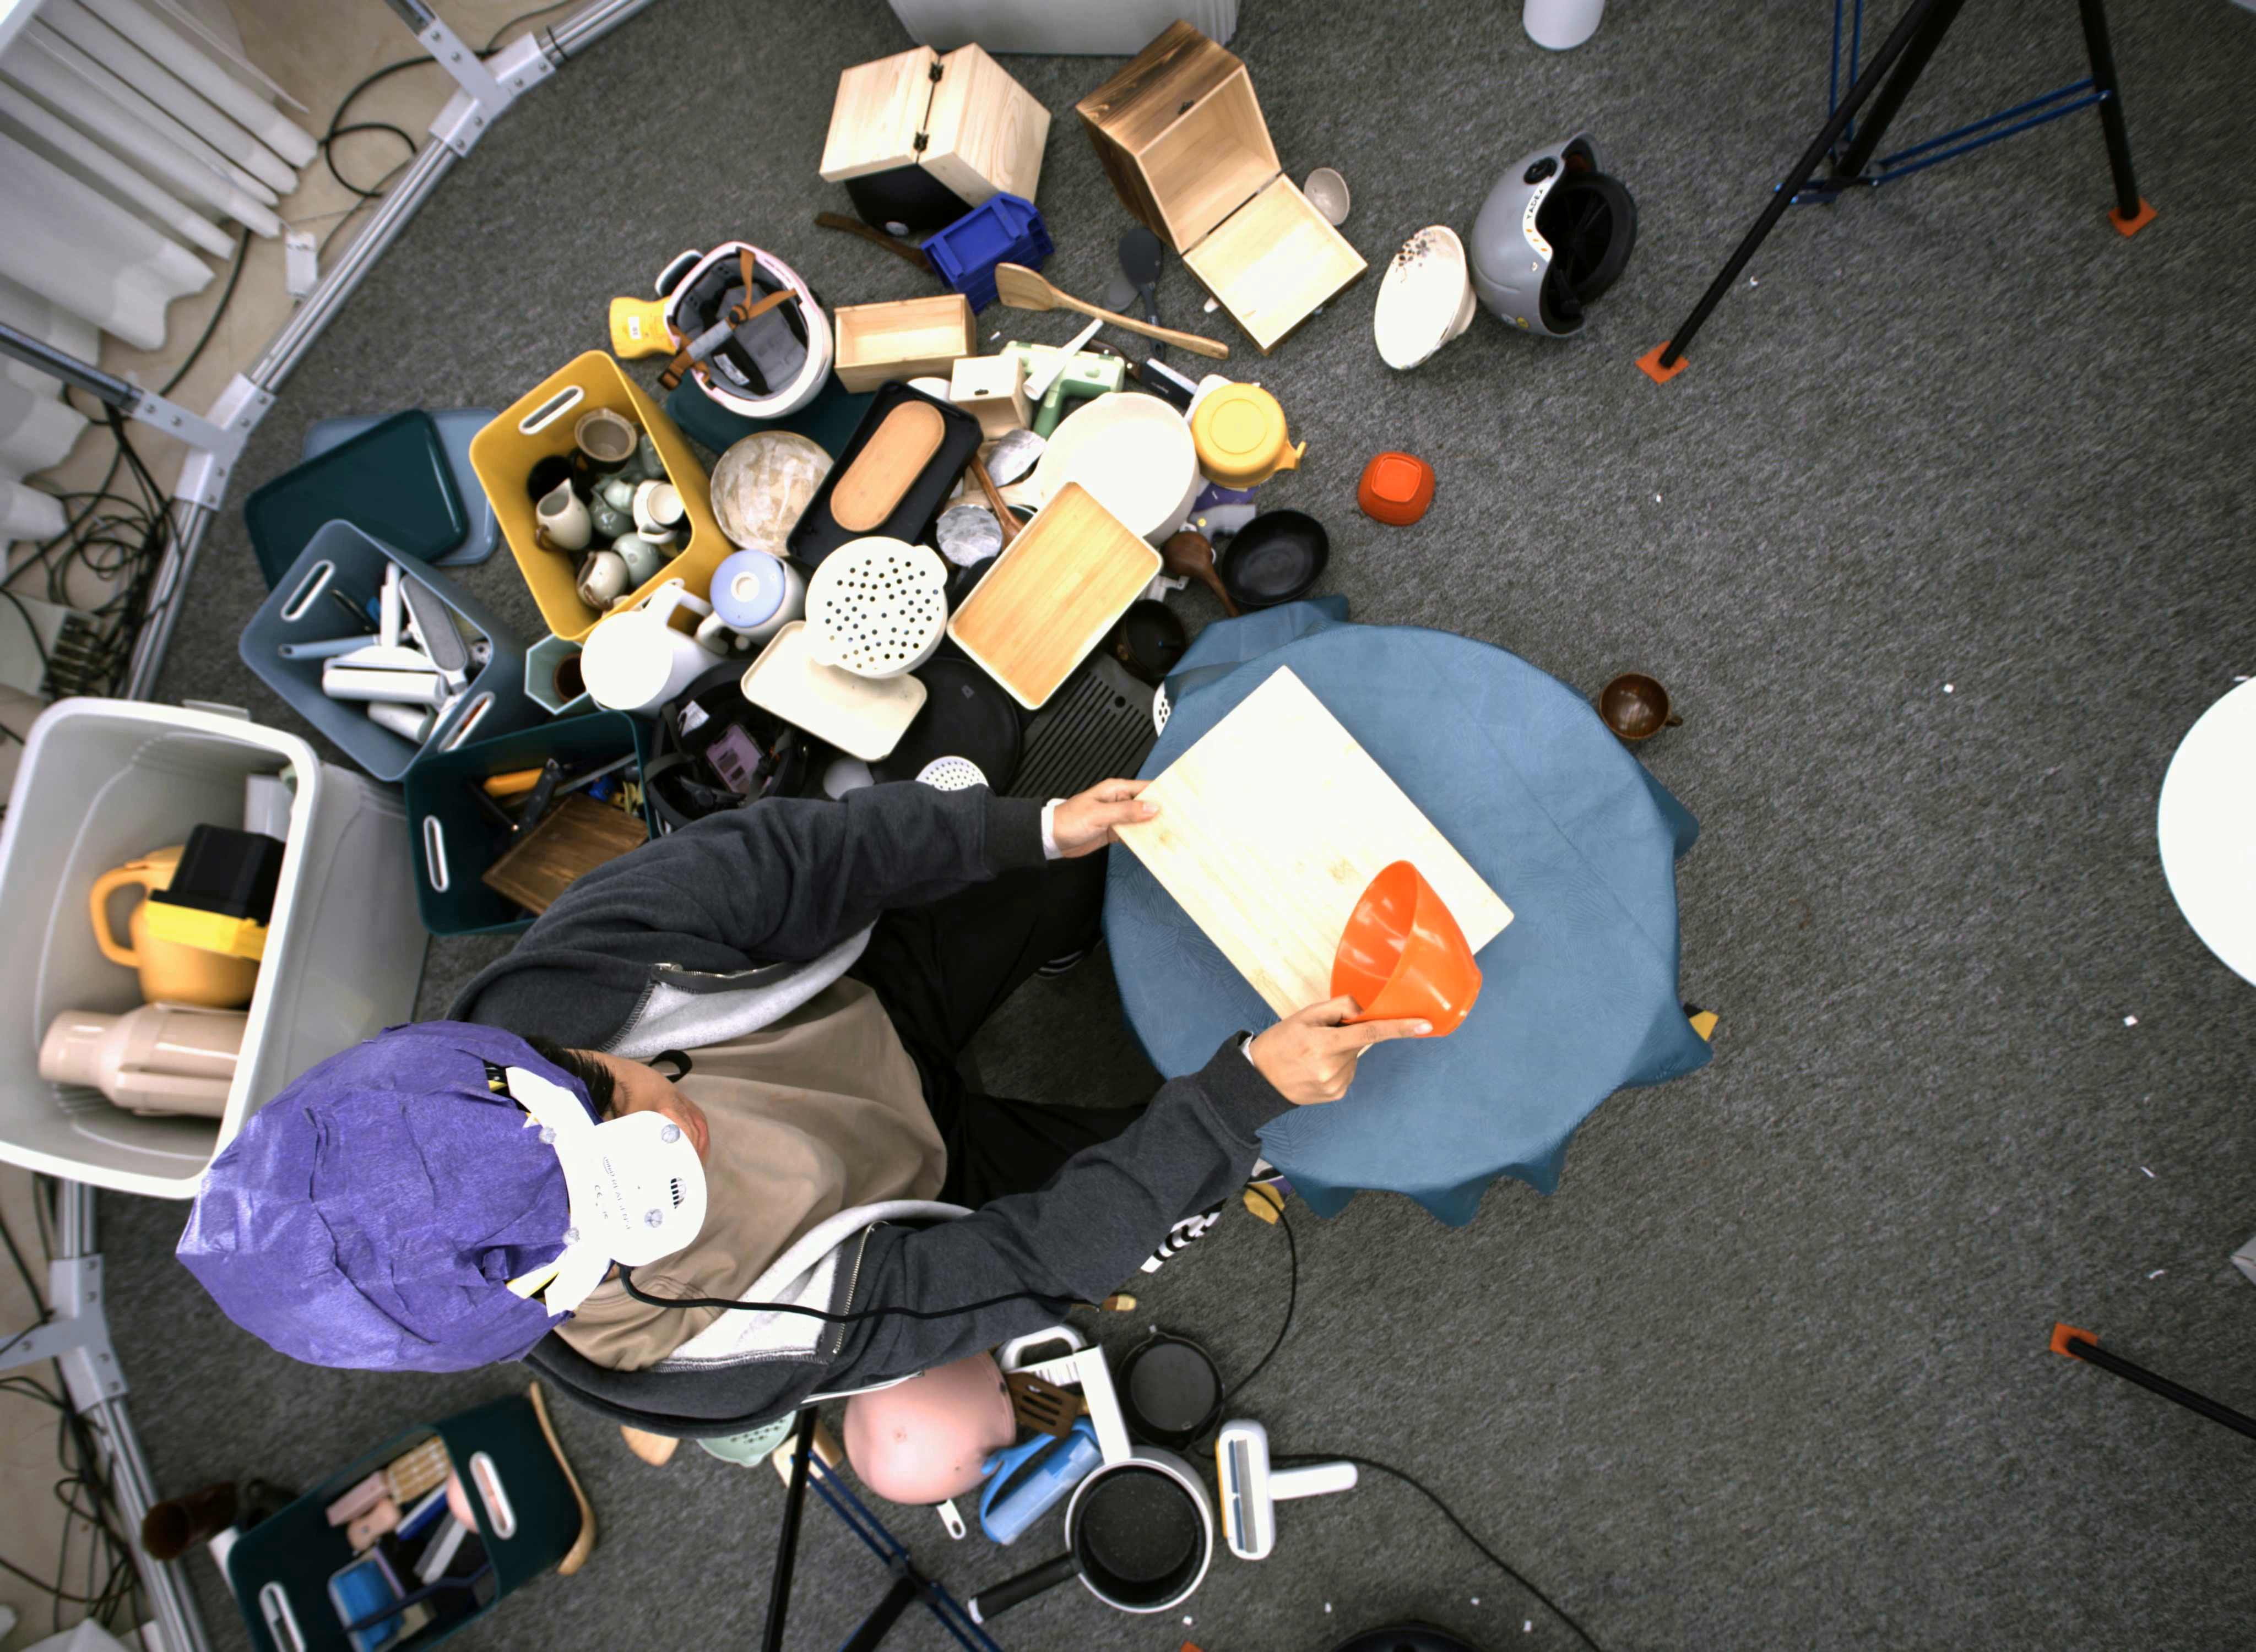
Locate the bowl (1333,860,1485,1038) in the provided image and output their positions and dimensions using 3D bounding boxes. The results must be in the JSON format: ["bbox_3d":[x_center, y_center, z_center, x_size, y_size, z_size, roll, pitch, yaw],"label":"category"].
[{"bbox_3d":[0.248,0.117,1.187,0.105,0.147,0.148,31,91,-5],"label":"bowl"}]

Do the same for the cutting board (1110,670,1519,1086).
[{"bbox_3d":[0.184,0.048,1.382,0.251,0.023,0.348,-43,85,4],"label":"cutting board"}]
